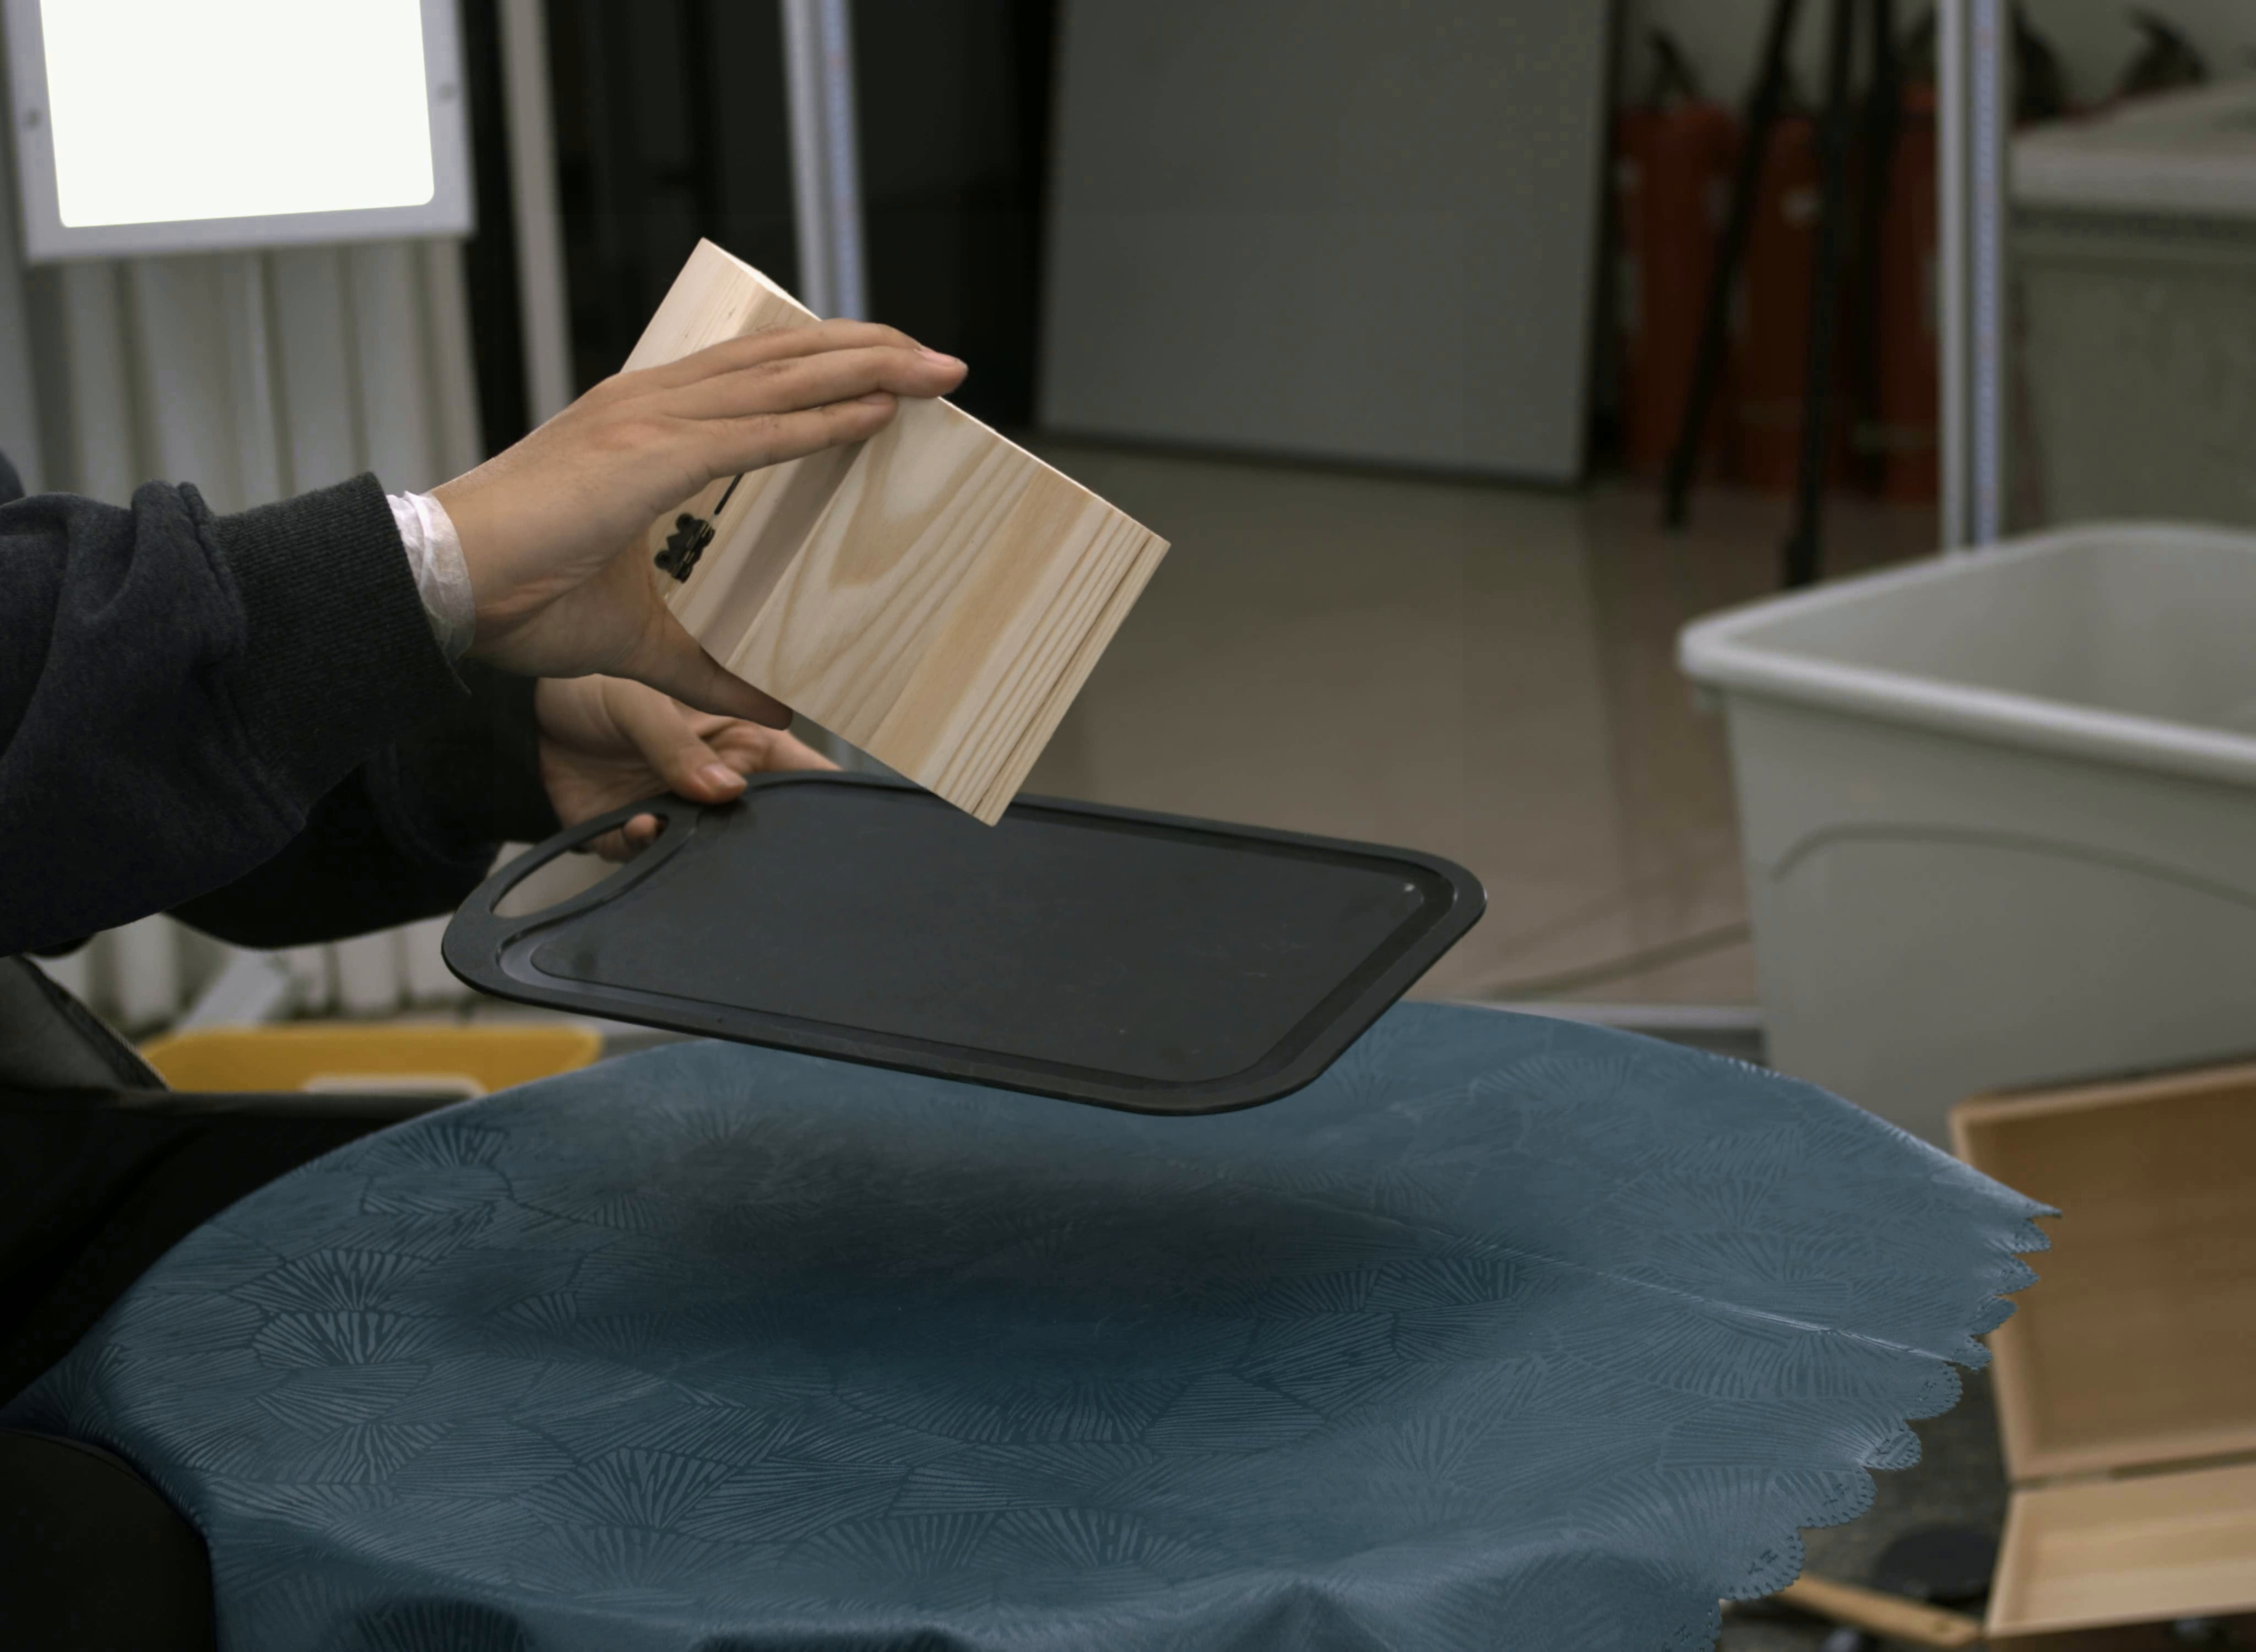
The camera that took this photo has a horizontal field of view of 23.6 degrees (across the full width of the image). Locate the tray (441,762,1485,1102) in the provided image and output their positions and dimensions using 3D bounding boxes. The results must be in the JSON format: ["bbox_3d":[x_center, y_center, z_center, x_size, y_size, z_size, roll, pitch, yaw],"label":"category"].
[{"bbox_3d":[-0.060,0.029,1.732,0.326,0.010,0.208,8,25,27],"label":"tray"}]

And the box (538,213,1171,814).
[{"bbox_3d":[-0.087,-0.098,1.659,0.132,0.103,0.186,30,5,-24],"label":"box"}]
